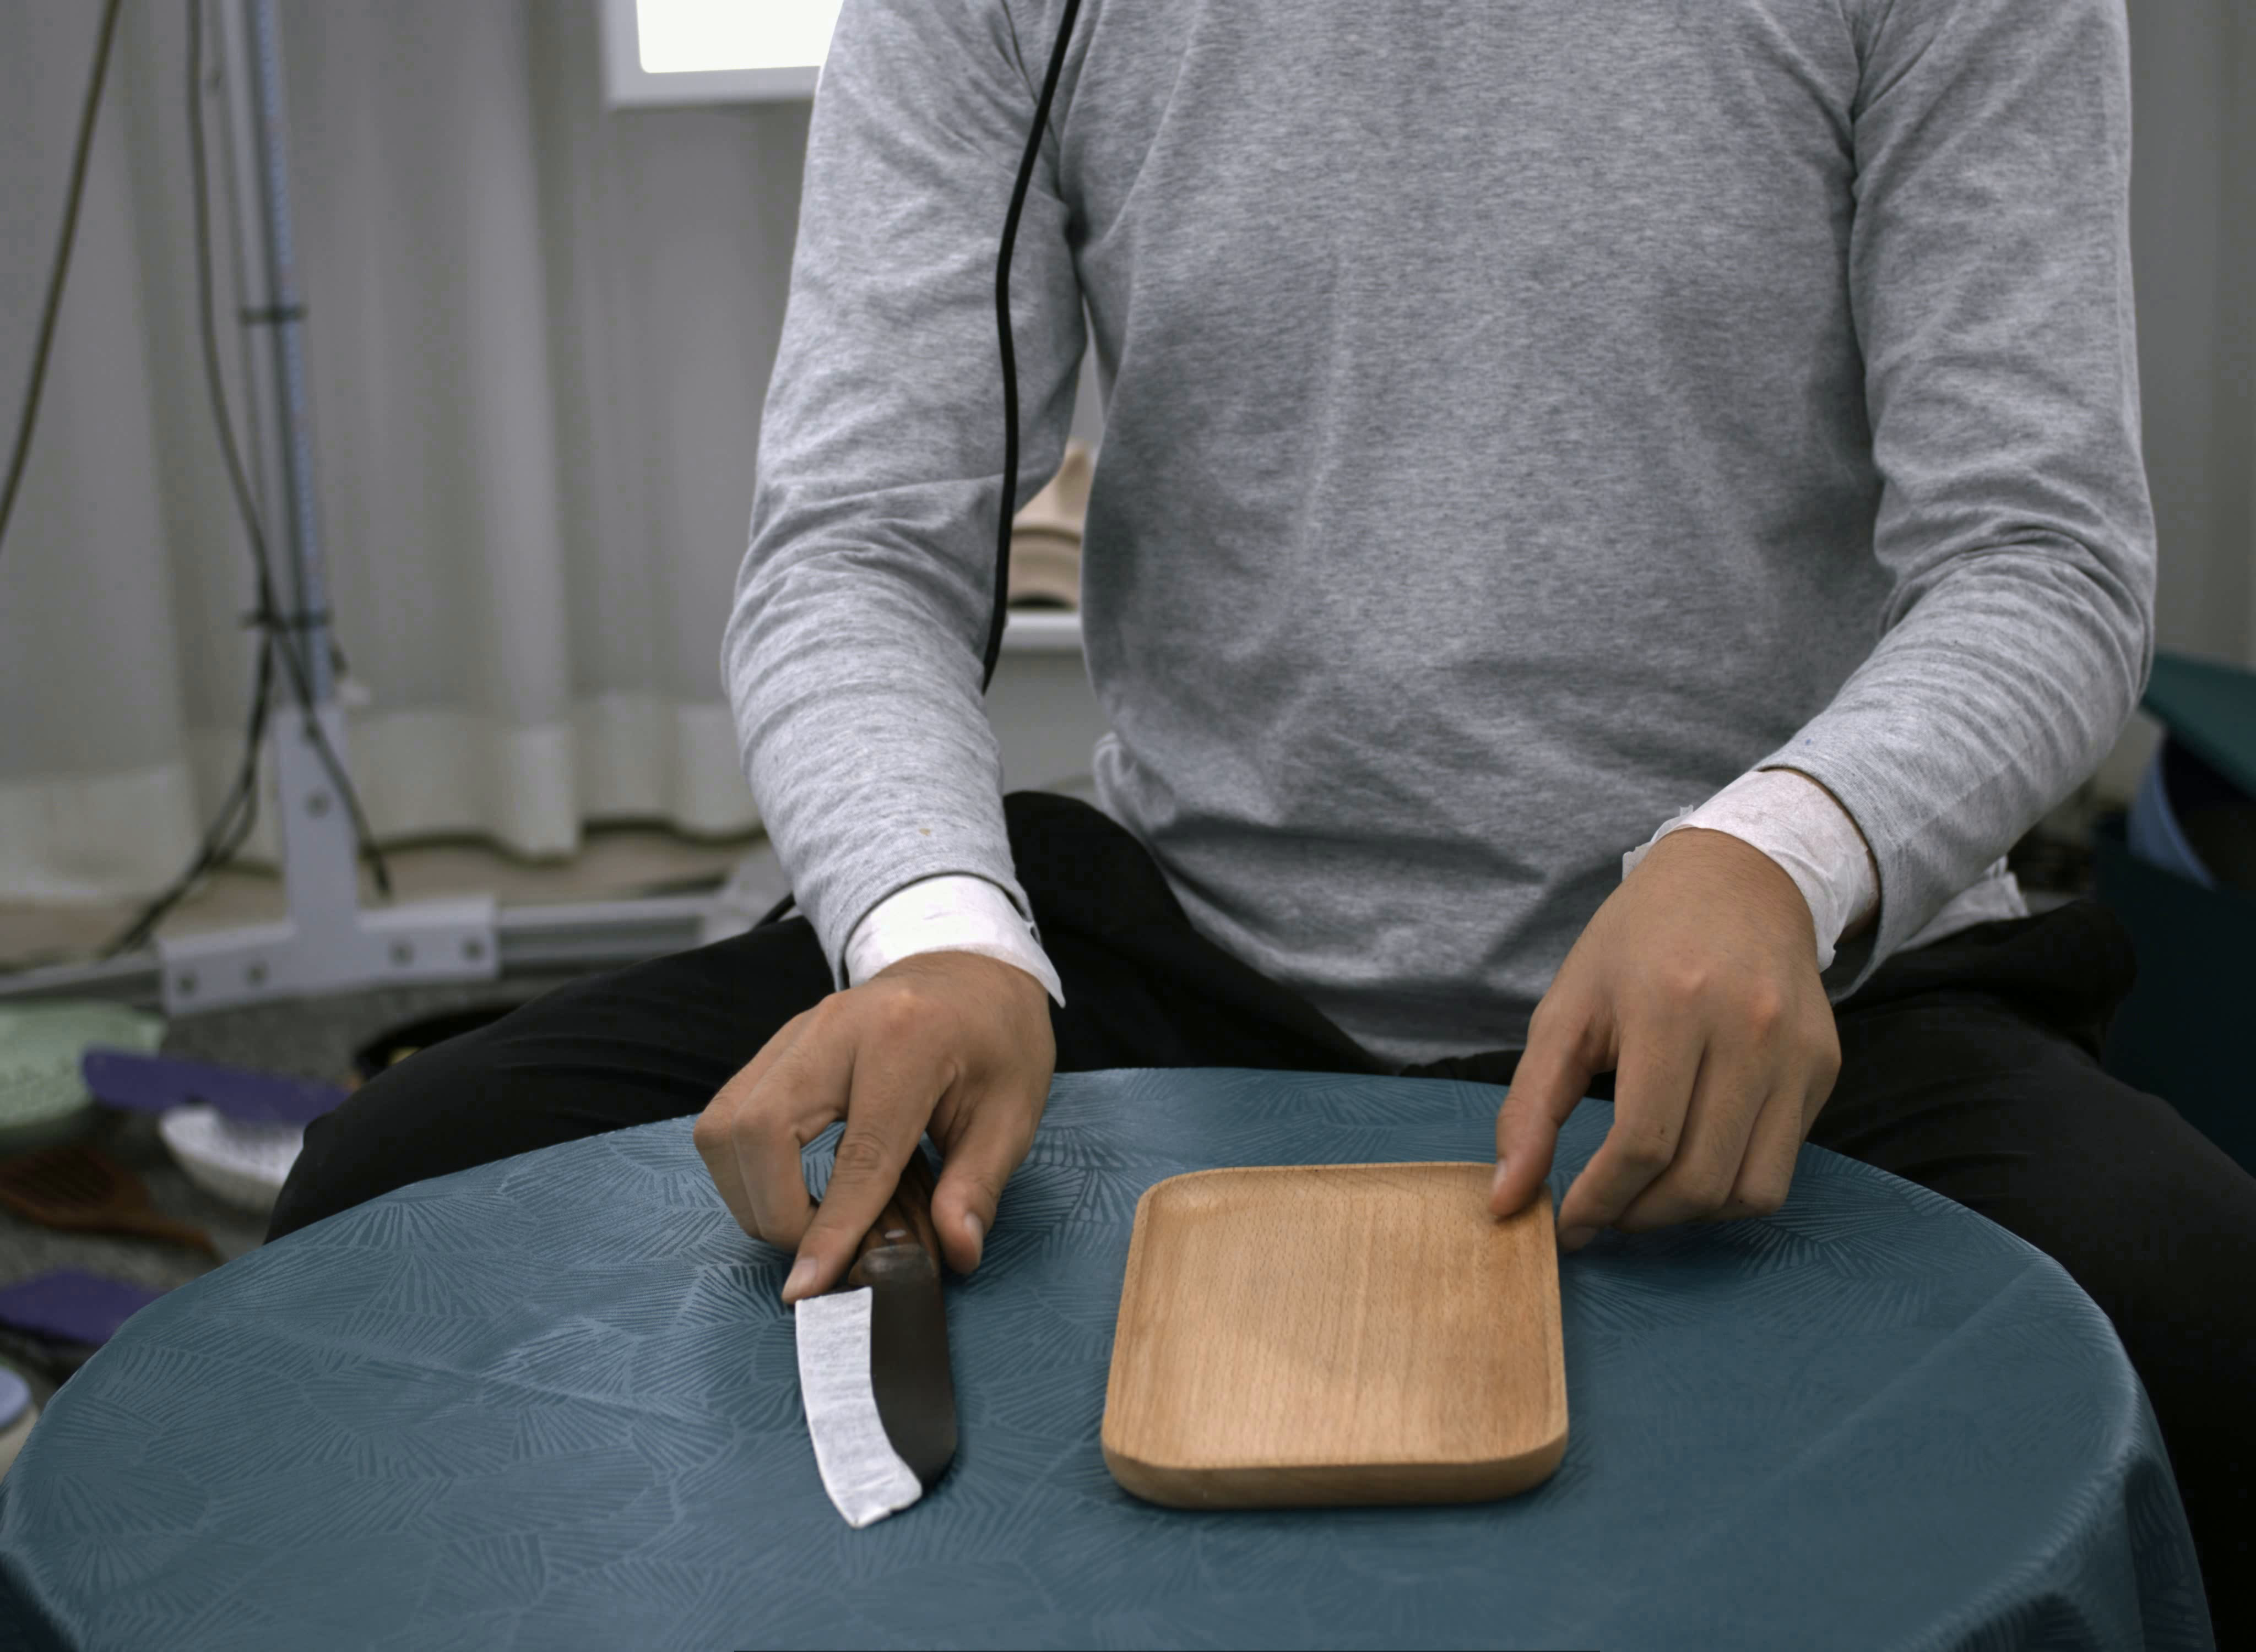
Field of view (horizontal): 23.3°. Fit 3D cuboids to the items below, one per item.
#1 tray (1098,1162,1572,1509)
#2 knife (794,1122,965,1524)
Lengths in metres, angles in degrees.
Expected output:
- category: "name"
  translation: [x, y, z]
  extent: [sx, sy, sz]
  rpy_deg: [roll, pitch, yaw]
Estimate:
- category: "tray"
  translation: [0.062, 0.143, 1.567]
  extent: [0.130, 0.023, 0.252]
  rpy_deg: [1, 14, 4]
- category: "knife"
  translation: [-0.073, 0.144, 1.593]
  extent: [0.050, 0.020, 0.291]
  rpy_deg: [-9, 17, 1]
